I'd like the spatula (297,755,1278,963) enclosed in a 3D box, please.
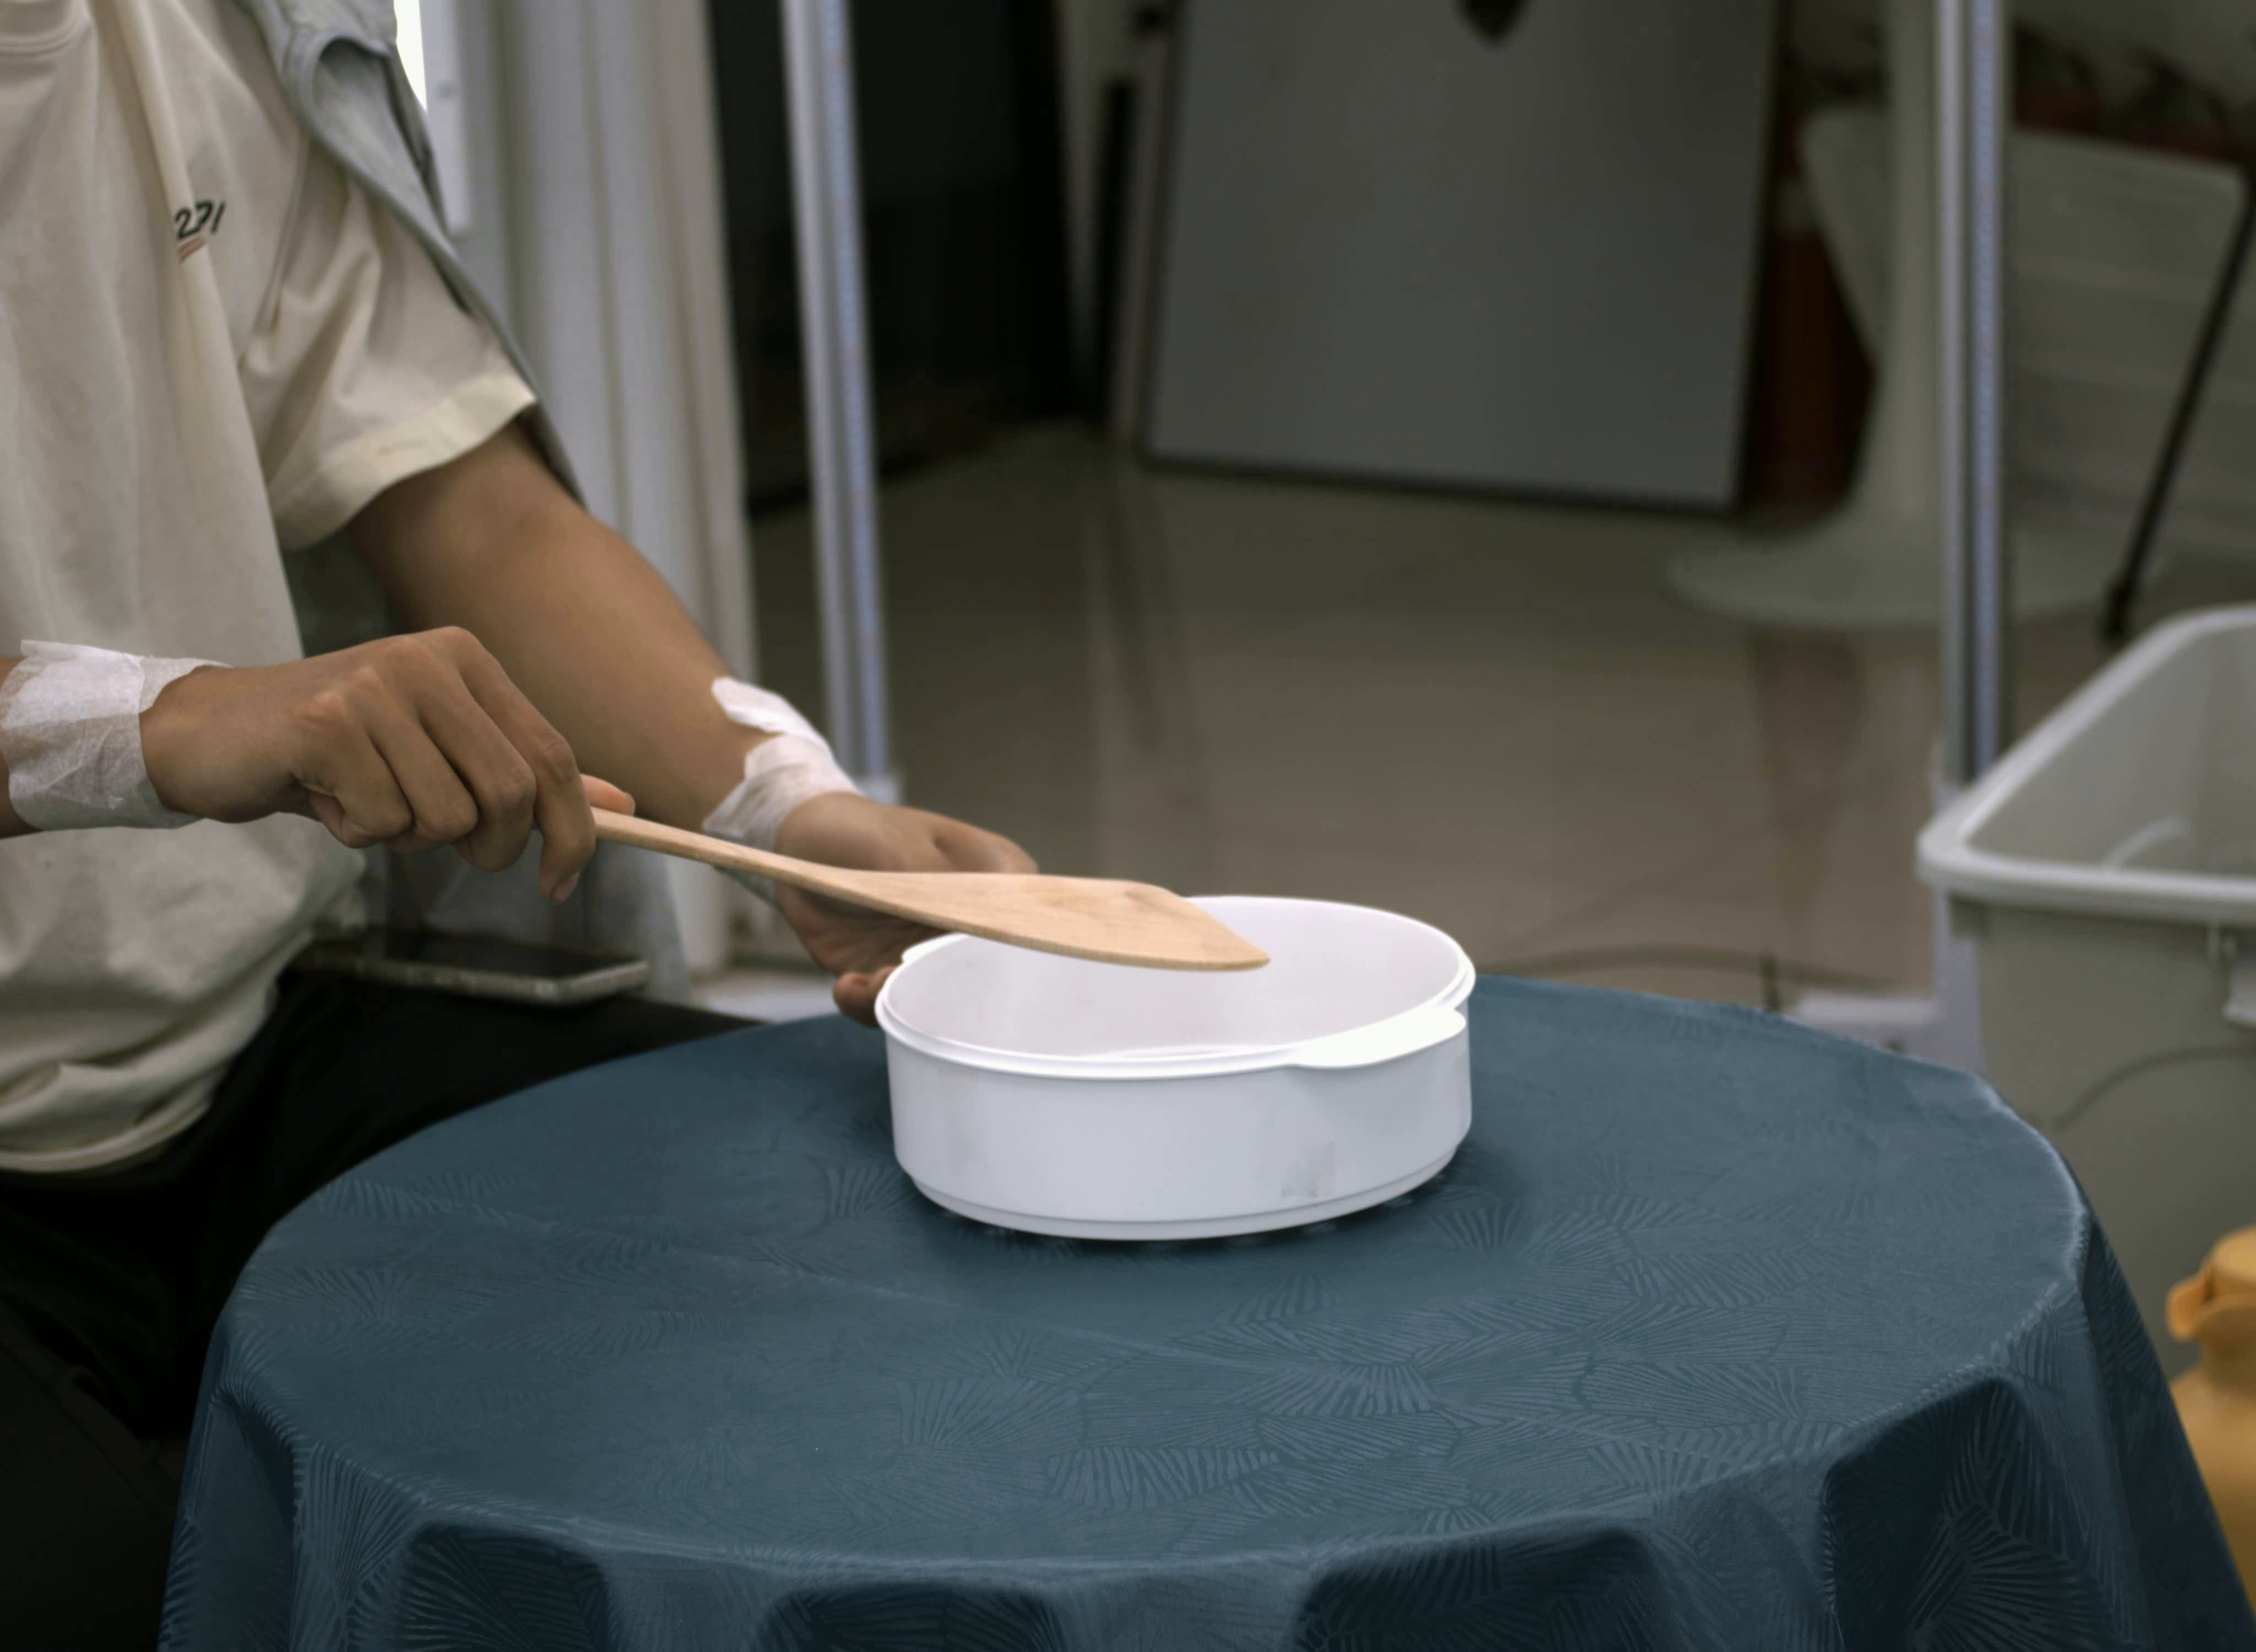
[{"bbox_3d":[-0.108,0.008,1.716,0.320,0.017,0.081,12,13,-24],"label":"spatula"}]

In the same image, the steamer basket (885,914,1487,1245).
[{"bbox_3d":[0.021,0.084,1.784,0.197,0.070,0.233,-14,16,-39],"label":"steamer basket"}]
